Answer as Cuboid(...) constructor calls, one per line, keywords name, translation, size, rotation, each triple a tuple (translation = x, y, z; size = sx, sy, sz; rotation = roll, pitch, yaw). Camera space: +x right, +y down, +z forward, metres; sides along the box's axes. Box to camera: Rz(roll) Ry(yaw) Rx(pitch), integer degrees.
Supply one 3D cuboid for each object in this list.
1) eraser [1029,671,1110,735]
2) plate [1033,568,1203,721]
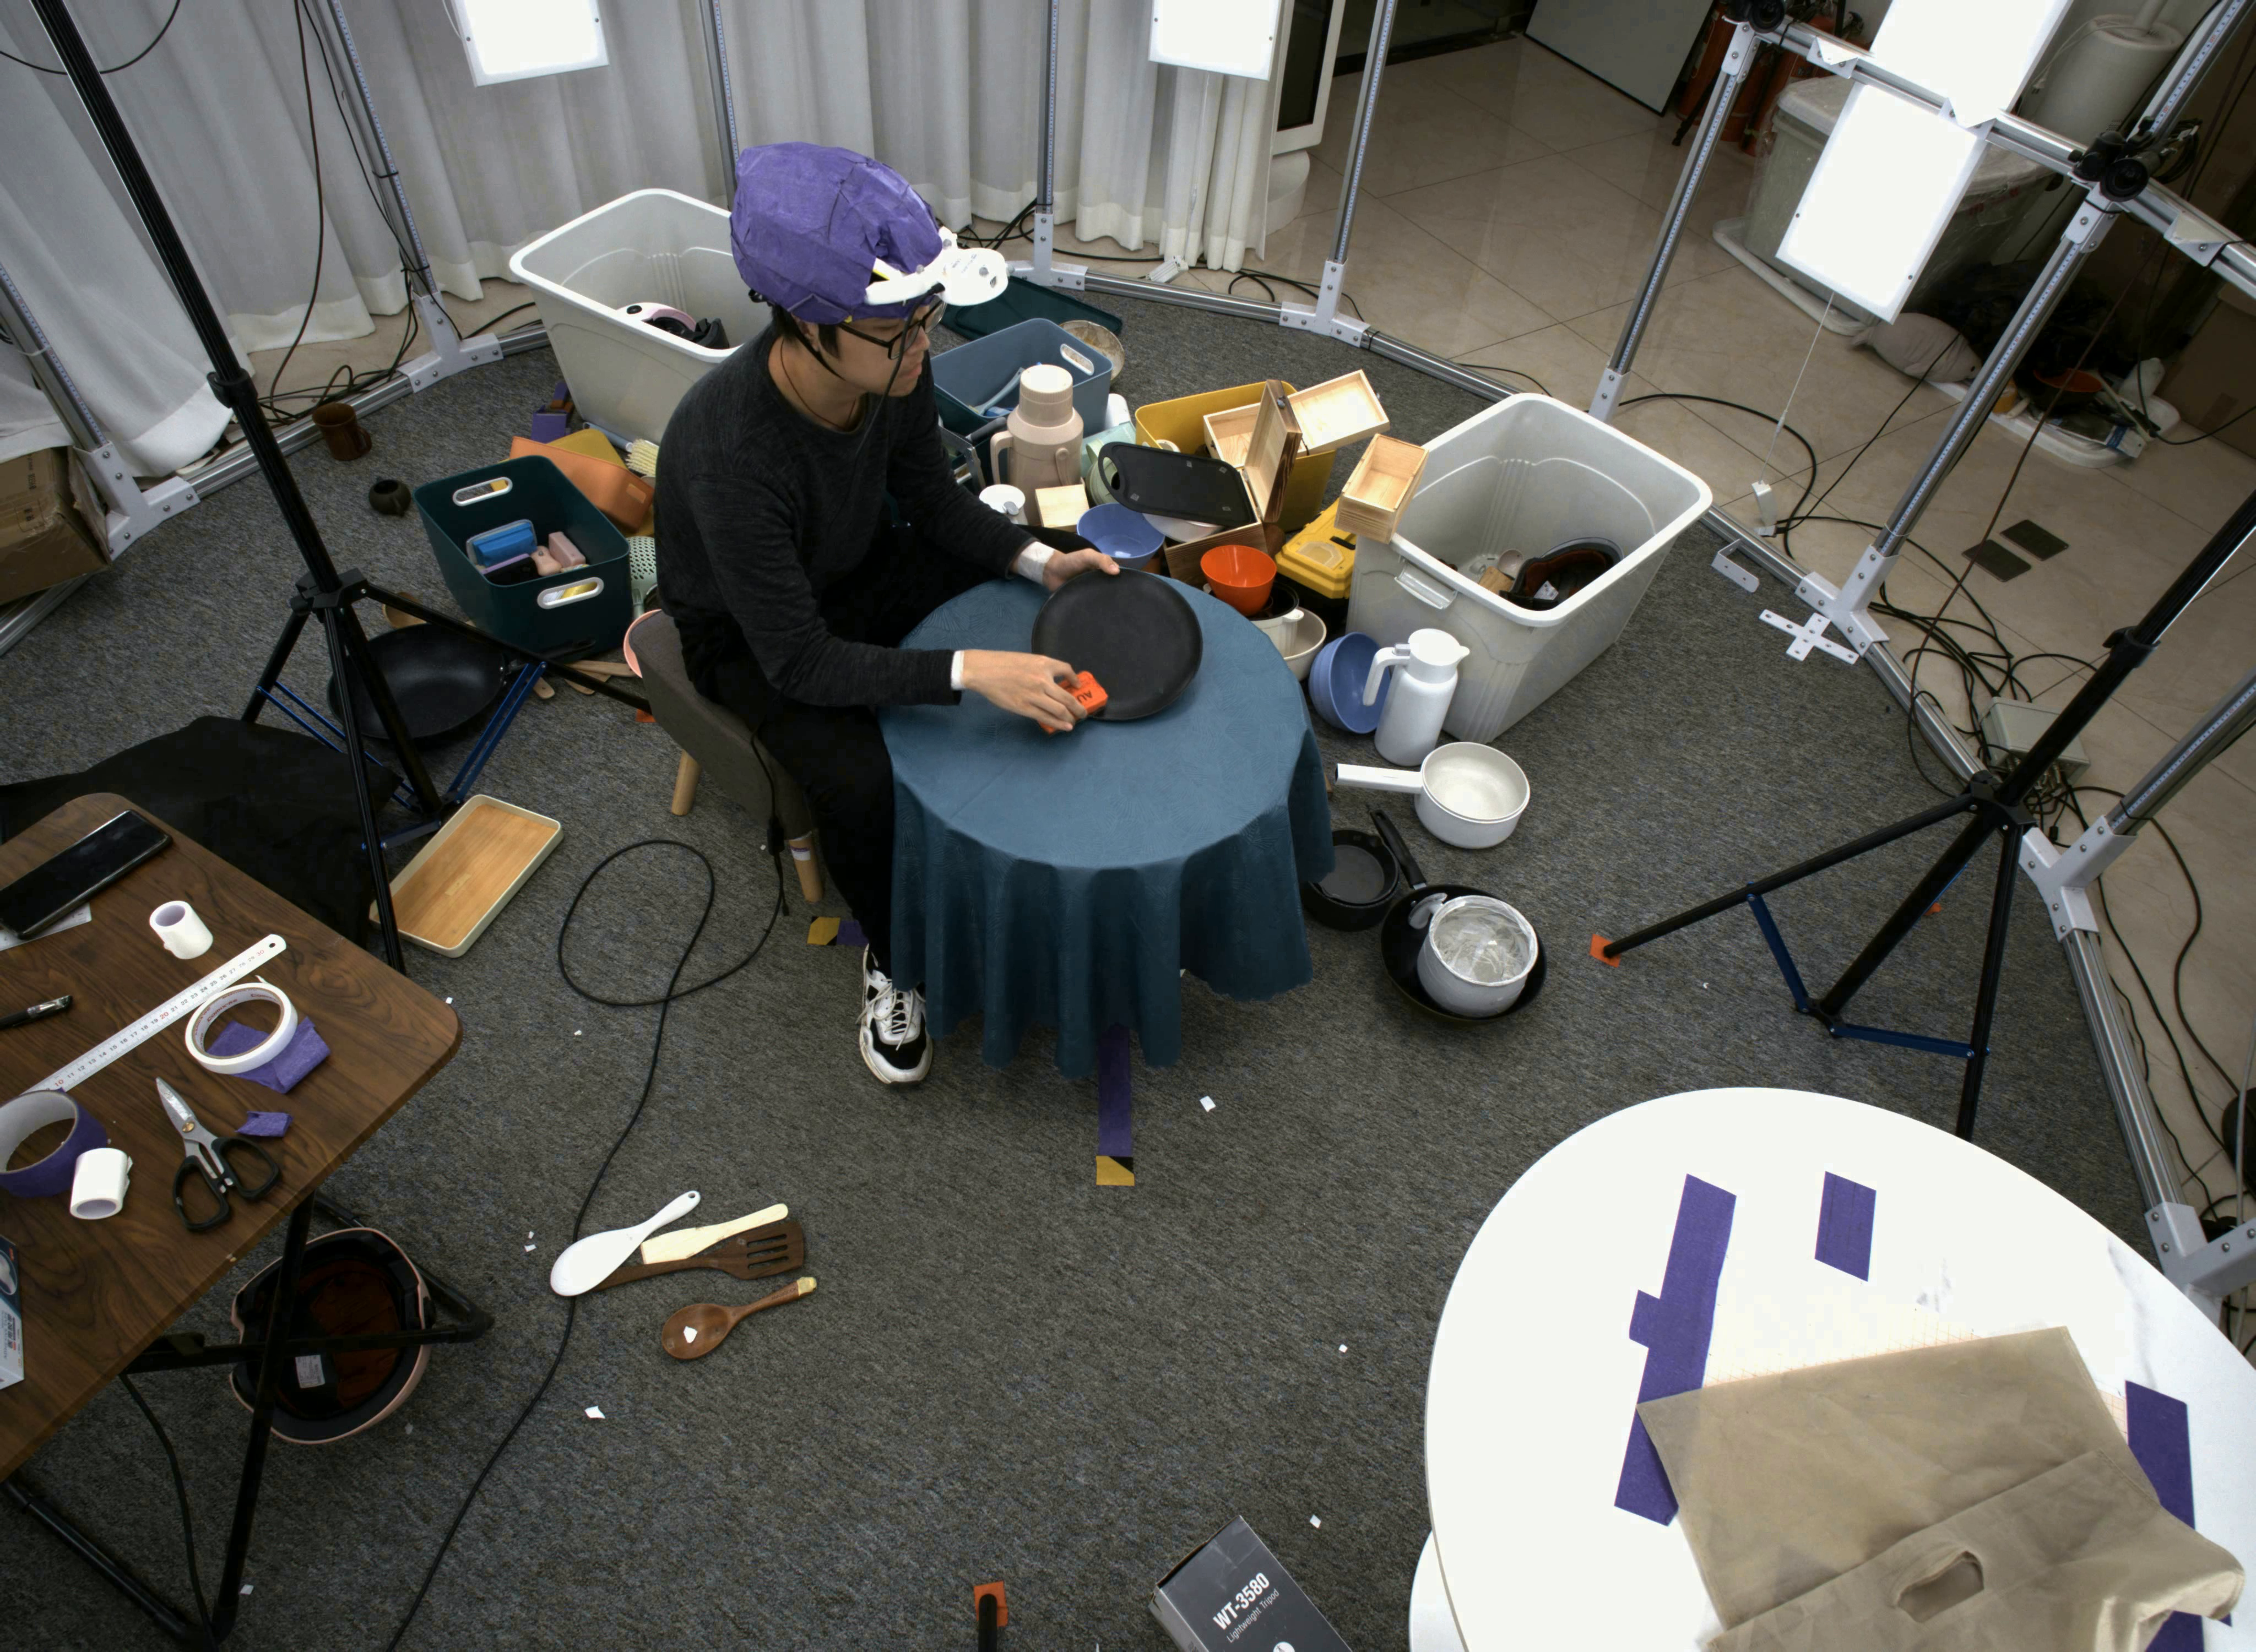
Cuboid(name="eraser", translation=(-0.080, -0.171, 1.778), size=(0.108, 0.022, 0.060), rotation=(-29, 59, -24))
Cuboid(name="plate", translation=(-0.014, -0.259, 1.841), size=(0.244, 0.023, 0.249), rotation=(0, 68, -1))
